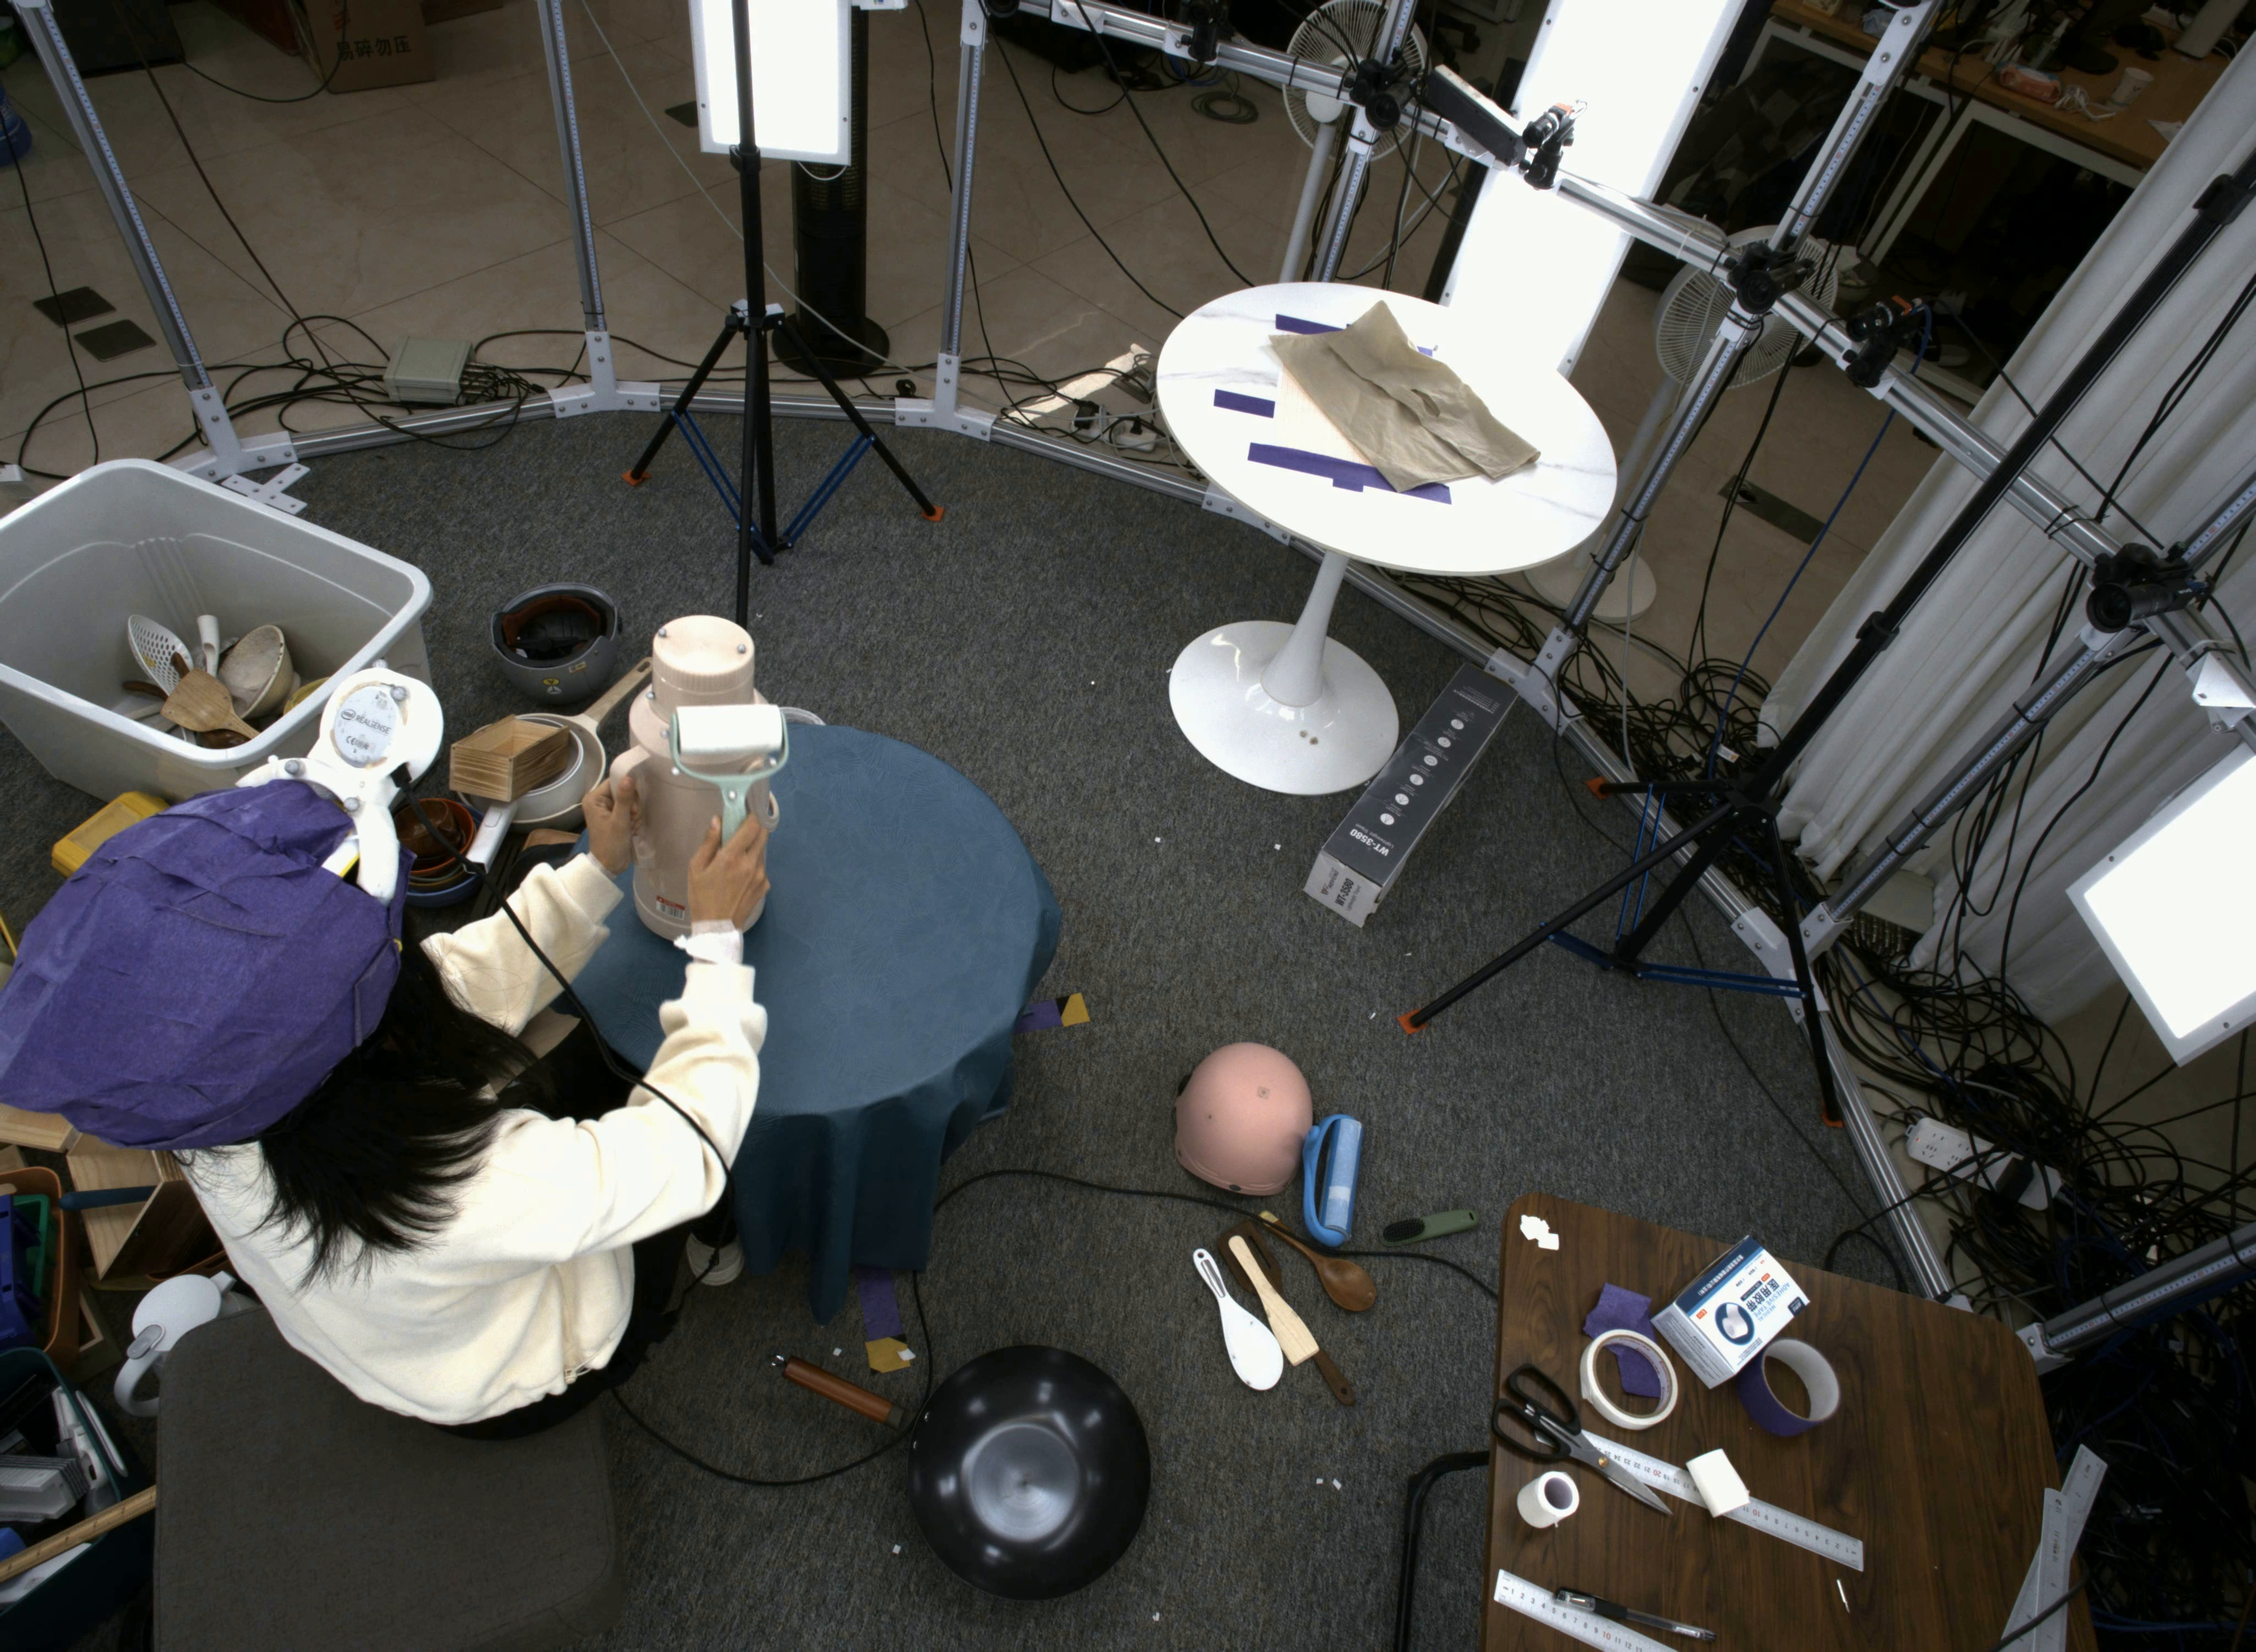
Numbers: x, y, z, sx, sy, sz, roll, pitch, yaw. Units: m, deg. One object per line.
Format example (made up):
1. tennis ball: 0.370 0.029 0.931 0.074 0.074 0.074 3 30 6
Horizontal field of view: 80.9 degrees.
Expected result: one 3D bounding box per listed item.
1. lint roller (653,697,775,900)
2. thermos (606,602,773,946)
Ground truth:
1. lint roller: -0.408 -0.027 1.281 0.118 0.047 0.201 -5 95 -28
2. thermos: -0.502 -0.051 1.465 0.171 0.415 0.207 34 45 18
